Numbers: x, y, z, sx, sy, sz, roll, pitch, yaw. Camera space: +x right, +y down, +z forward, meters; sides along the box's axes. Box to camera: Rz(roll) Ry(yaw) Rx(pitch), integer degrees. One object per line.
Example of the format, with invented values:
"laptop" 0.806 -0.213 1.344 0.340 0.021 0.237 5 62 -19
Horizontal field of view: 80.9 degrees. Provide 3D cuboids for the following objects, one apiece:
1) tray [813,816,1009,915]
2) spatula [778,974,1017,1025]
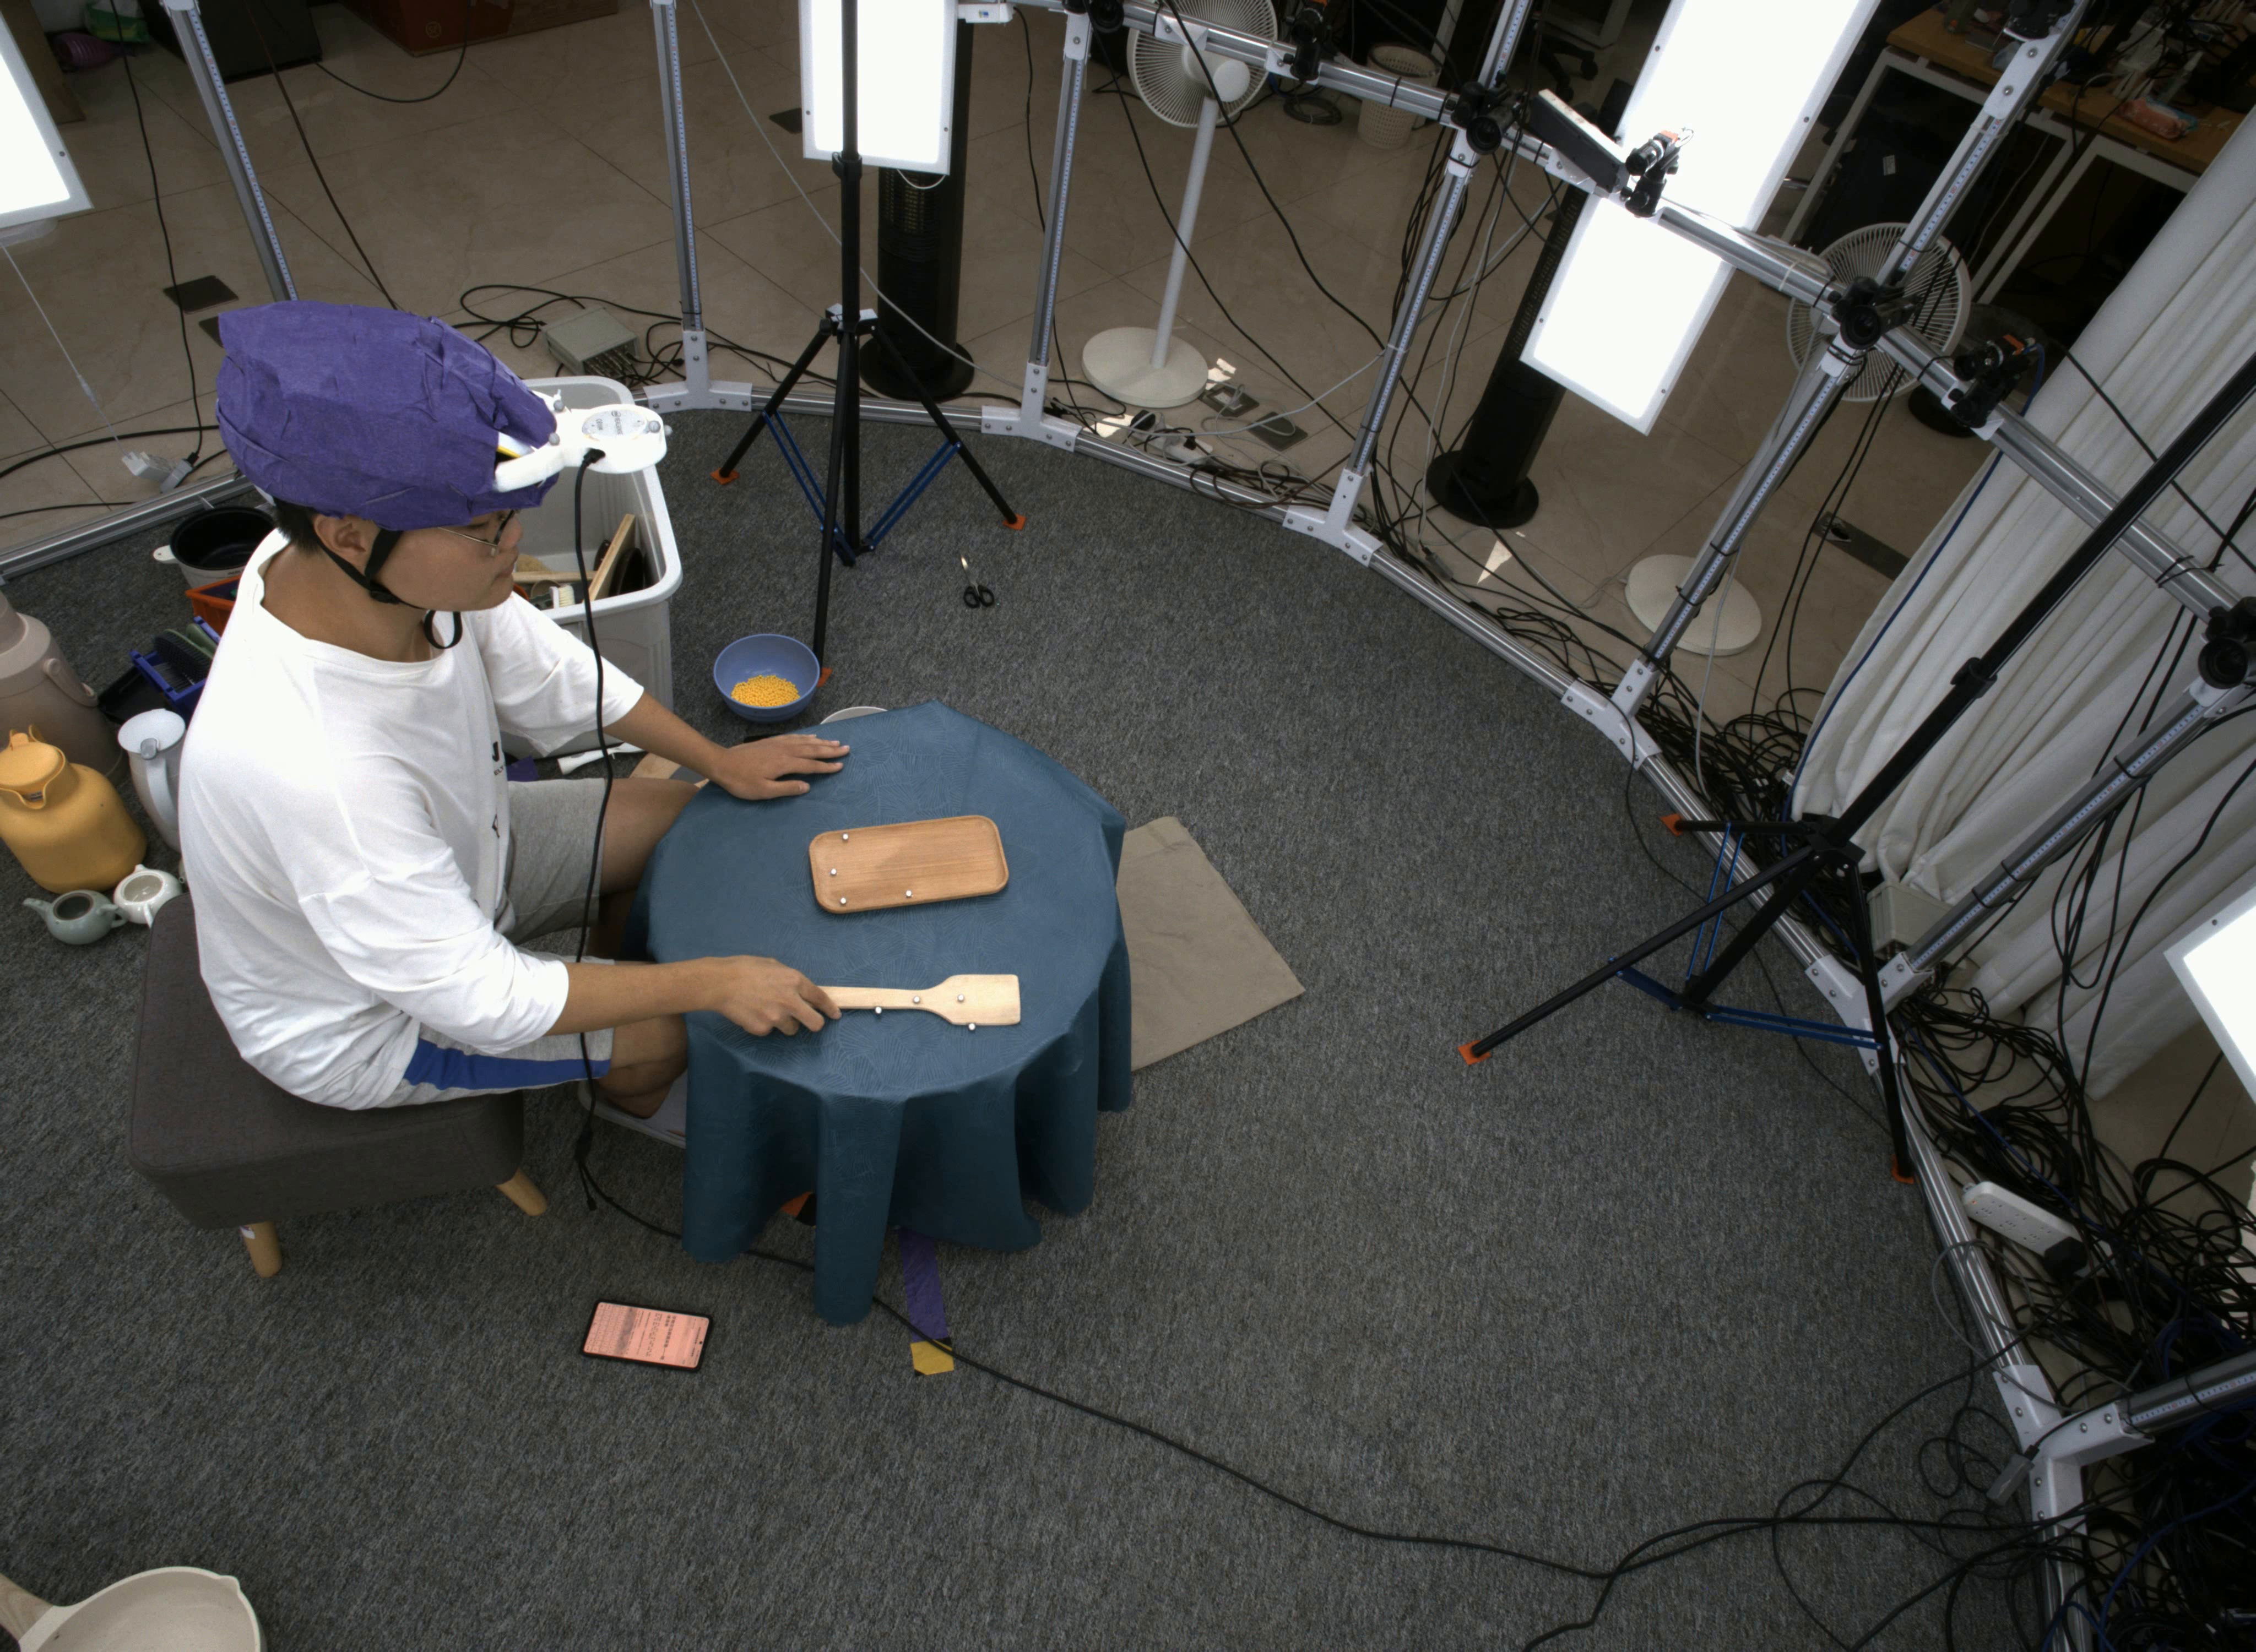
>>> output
"tray" -0.286 0.051 1.720 0.251 0.023 0.128 -5 58 -17
"spatula" -0.282 0.211 1.601 0.294 0.011 0.071 2 54 -15
